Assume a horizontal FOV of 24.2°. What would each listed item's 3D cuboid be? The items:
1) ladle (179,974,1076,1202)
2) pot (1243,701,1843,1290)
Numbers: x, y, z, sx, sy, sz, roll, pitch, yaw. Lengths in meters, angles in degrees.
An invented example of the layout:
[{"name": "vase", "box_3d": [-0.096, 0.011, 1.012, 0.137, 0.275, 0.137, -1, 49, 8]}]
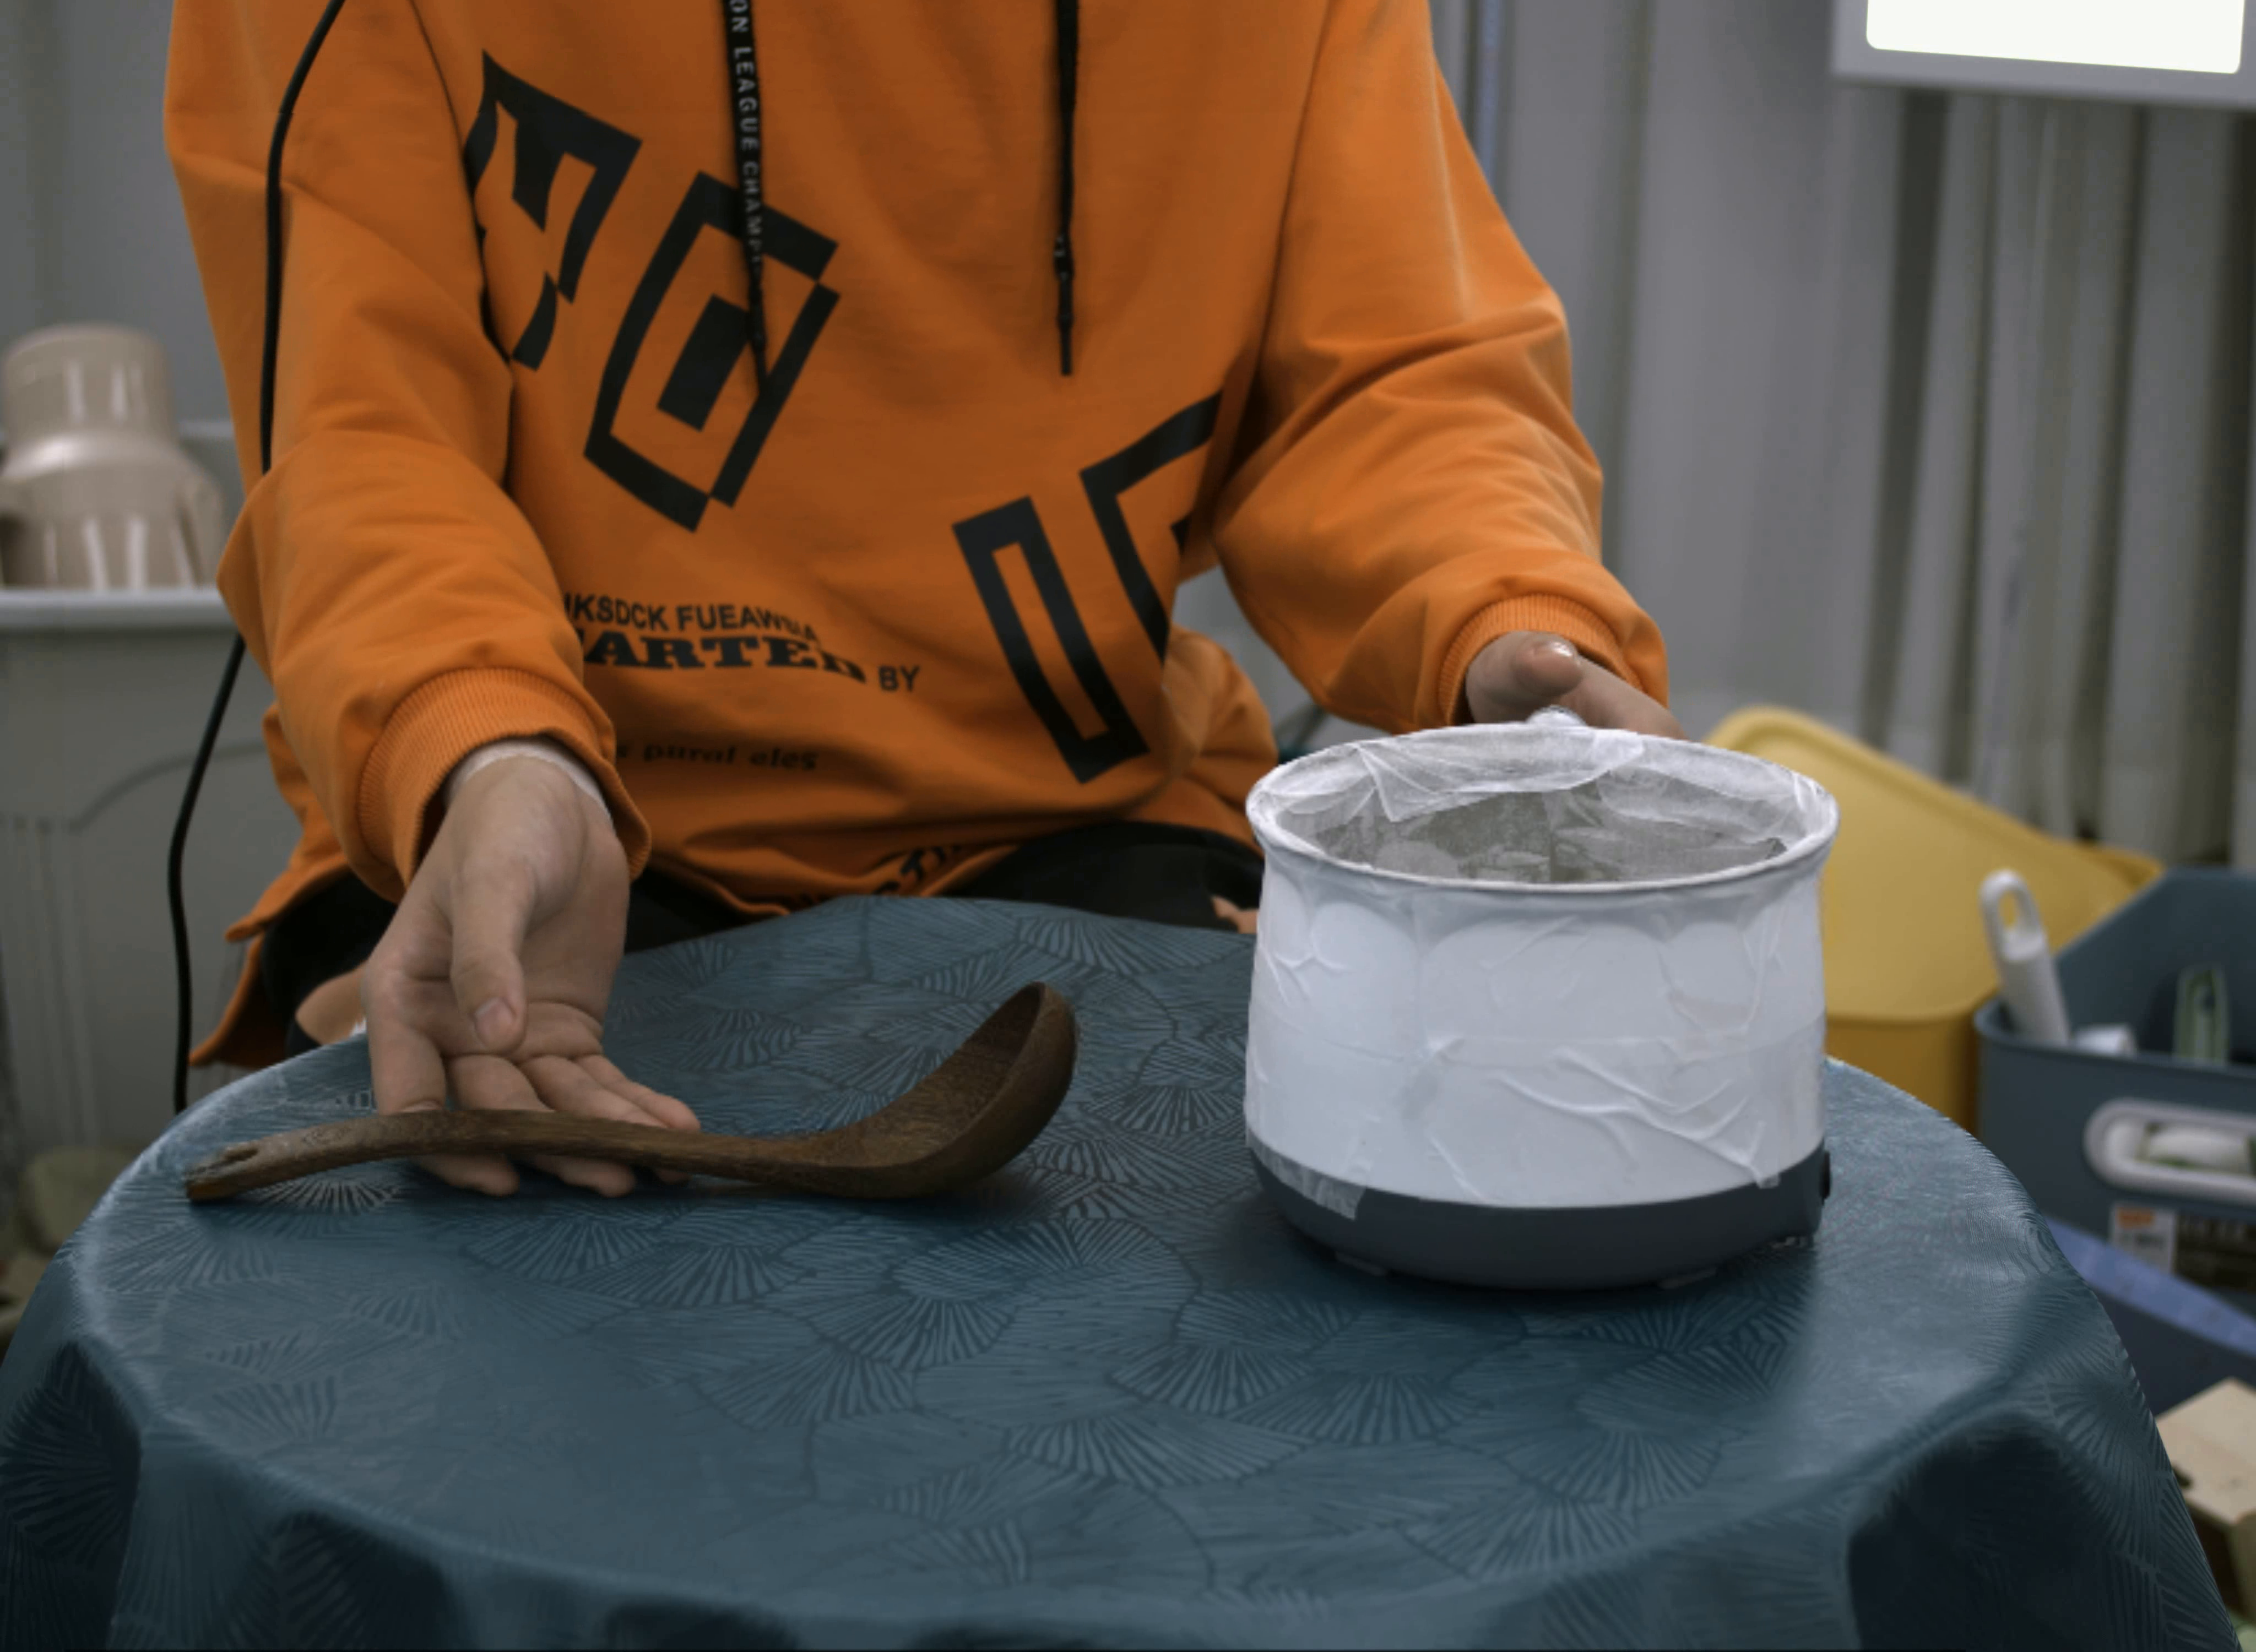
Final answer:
[{"name": "ladle", "box_3d": [-0.153, 0.079, 1.606, 0.273, 0.072, 0.075, 1, 15, -2]}, {"name": "pot", "box_3d": [0.125, 0.046, 1.606, 0.178, 0.138, 0.233, 2, 16, 4]}]
